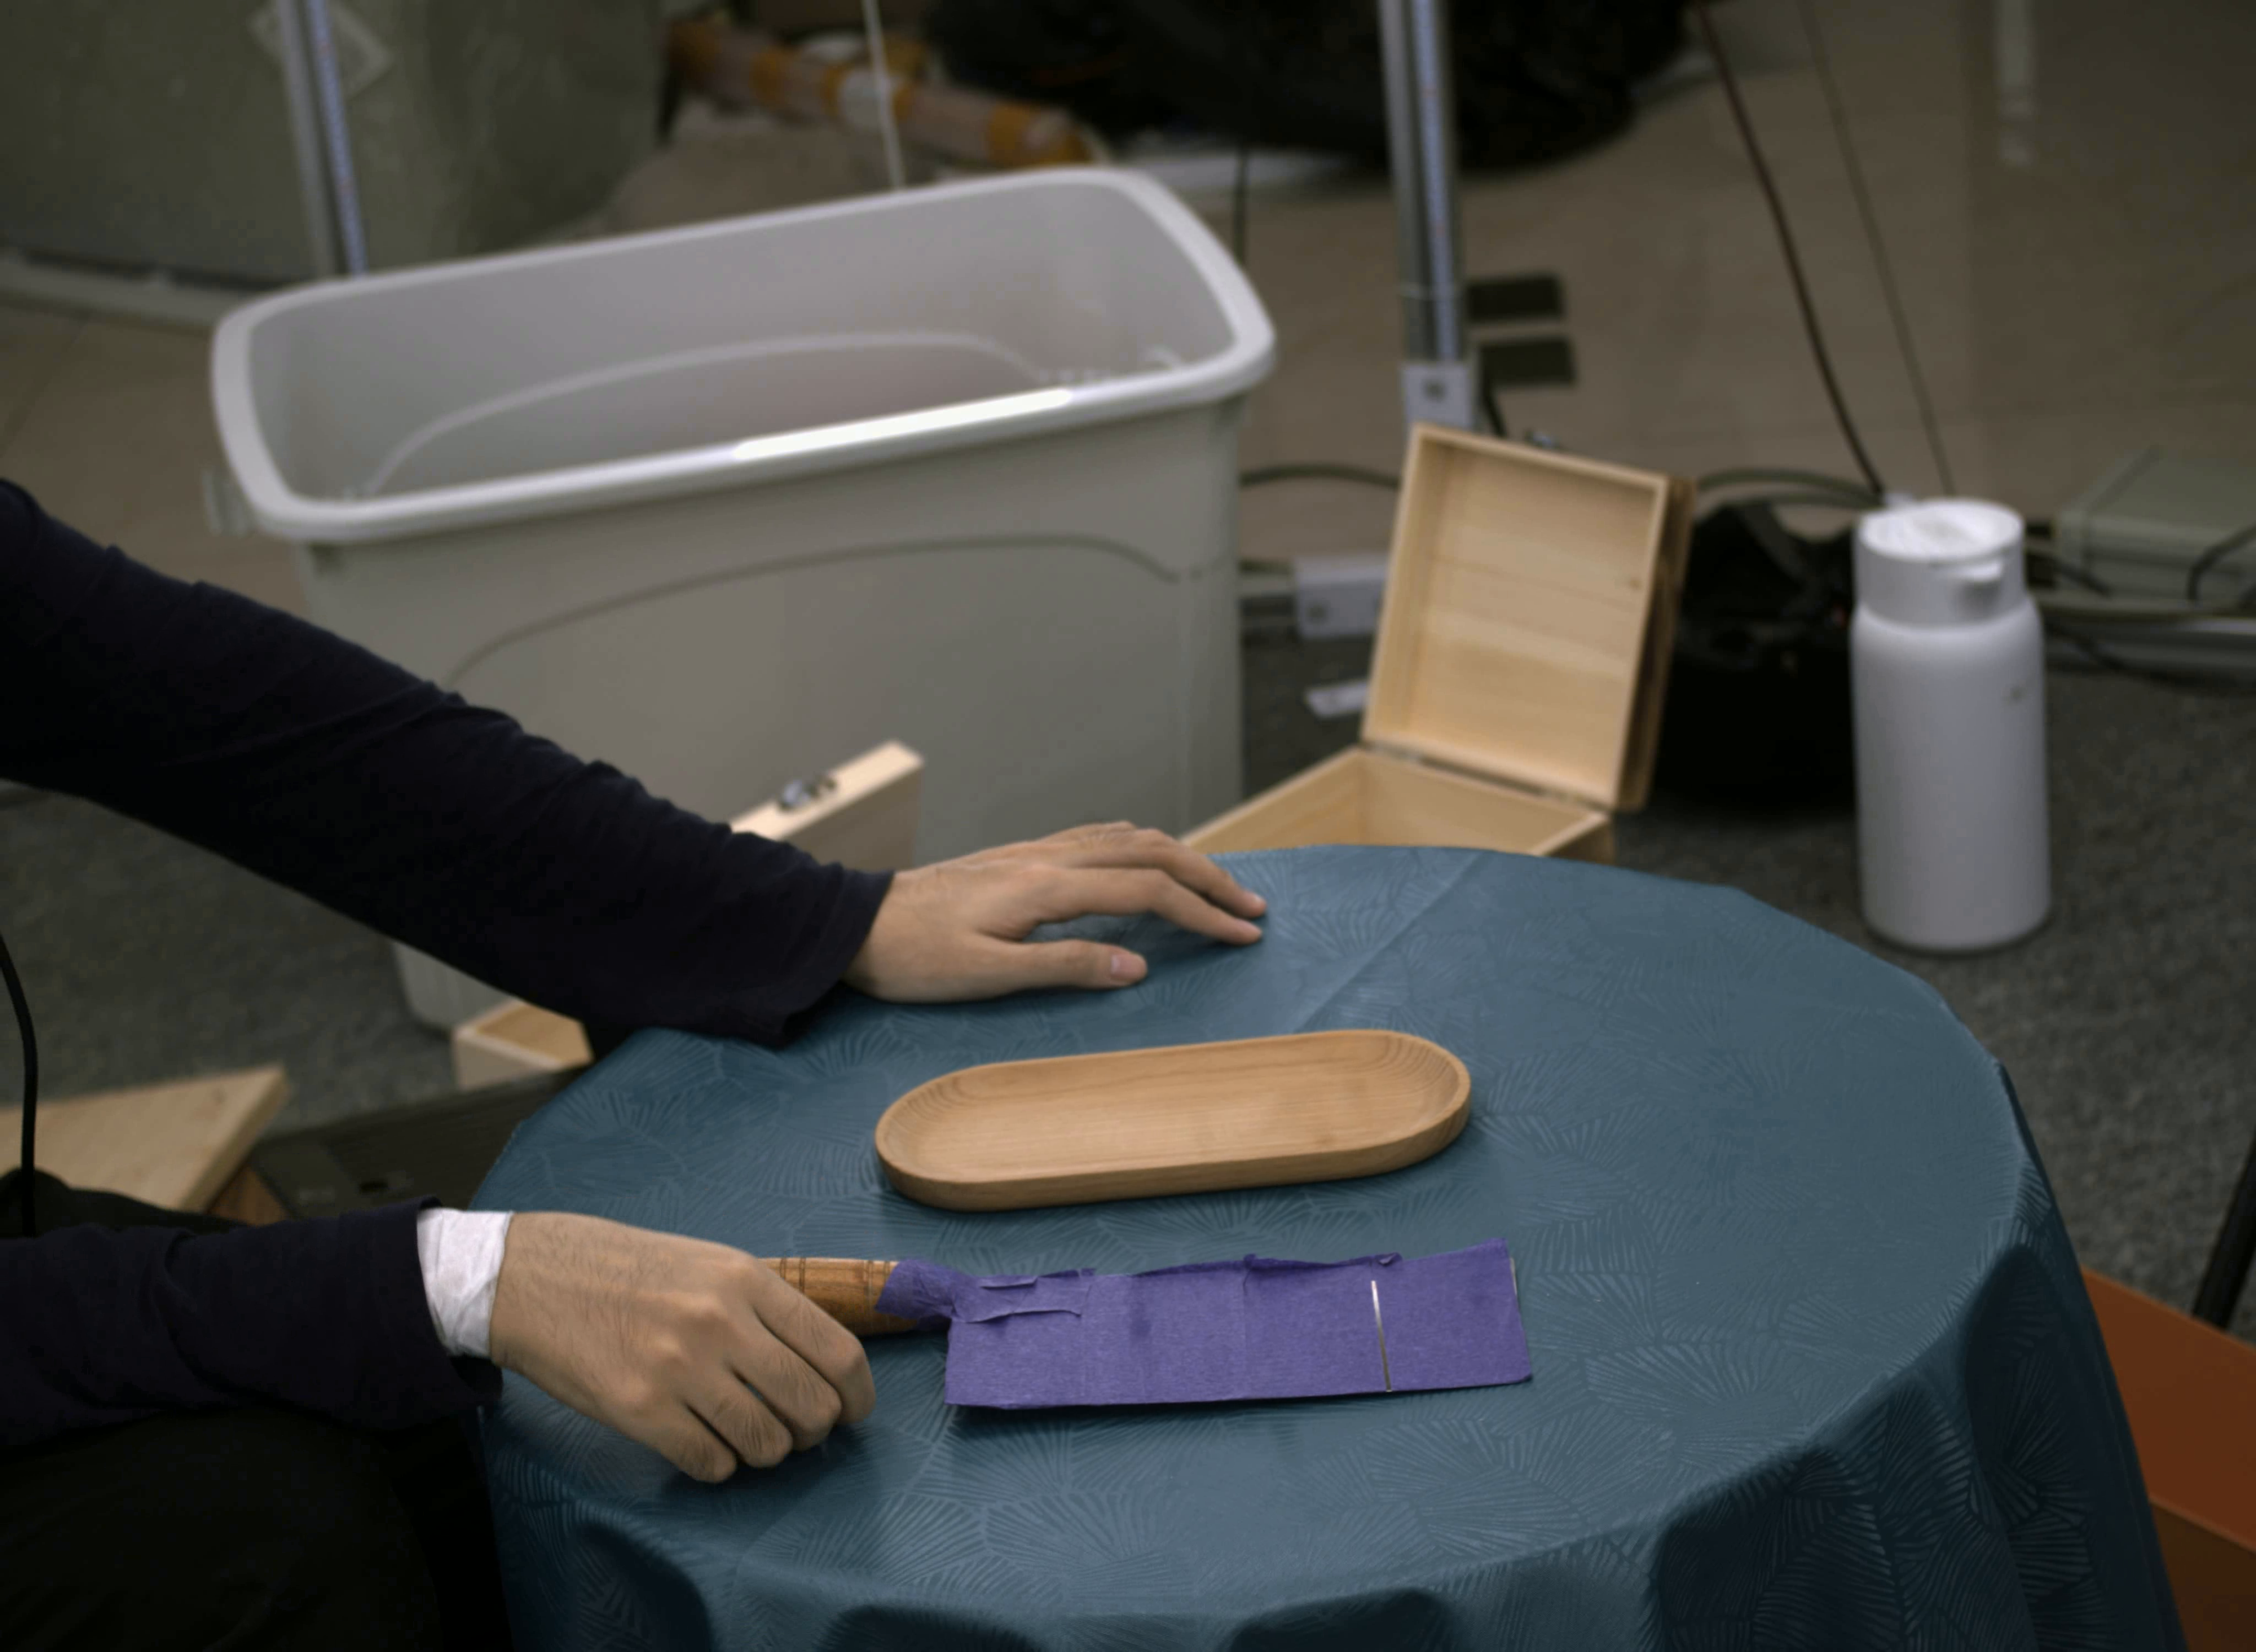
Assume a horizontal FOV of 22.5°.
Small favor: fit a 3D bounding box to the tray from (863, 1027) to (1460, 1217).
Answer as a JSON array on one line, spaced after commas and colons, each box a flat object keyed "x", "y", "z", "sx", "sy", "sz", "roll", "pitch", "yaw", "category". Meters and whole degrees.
[{"x": 0.013, "y": 0.114, "z": 2.182, "sx": 0.231, "sy": 0.020, "sz": 0.100, "roll": -8, "pitch": 24, "yaw": 2, "category": "tray"}]

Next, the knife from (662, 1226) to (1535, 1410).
[{"x": -0.013, "y": 0.178, "z": 2.037, "sx": 0.315, "sy": 0.033, "sz": 0.102, "roll": -5, "pitch": 24, "yaw": 2, "category": "knife"}]
